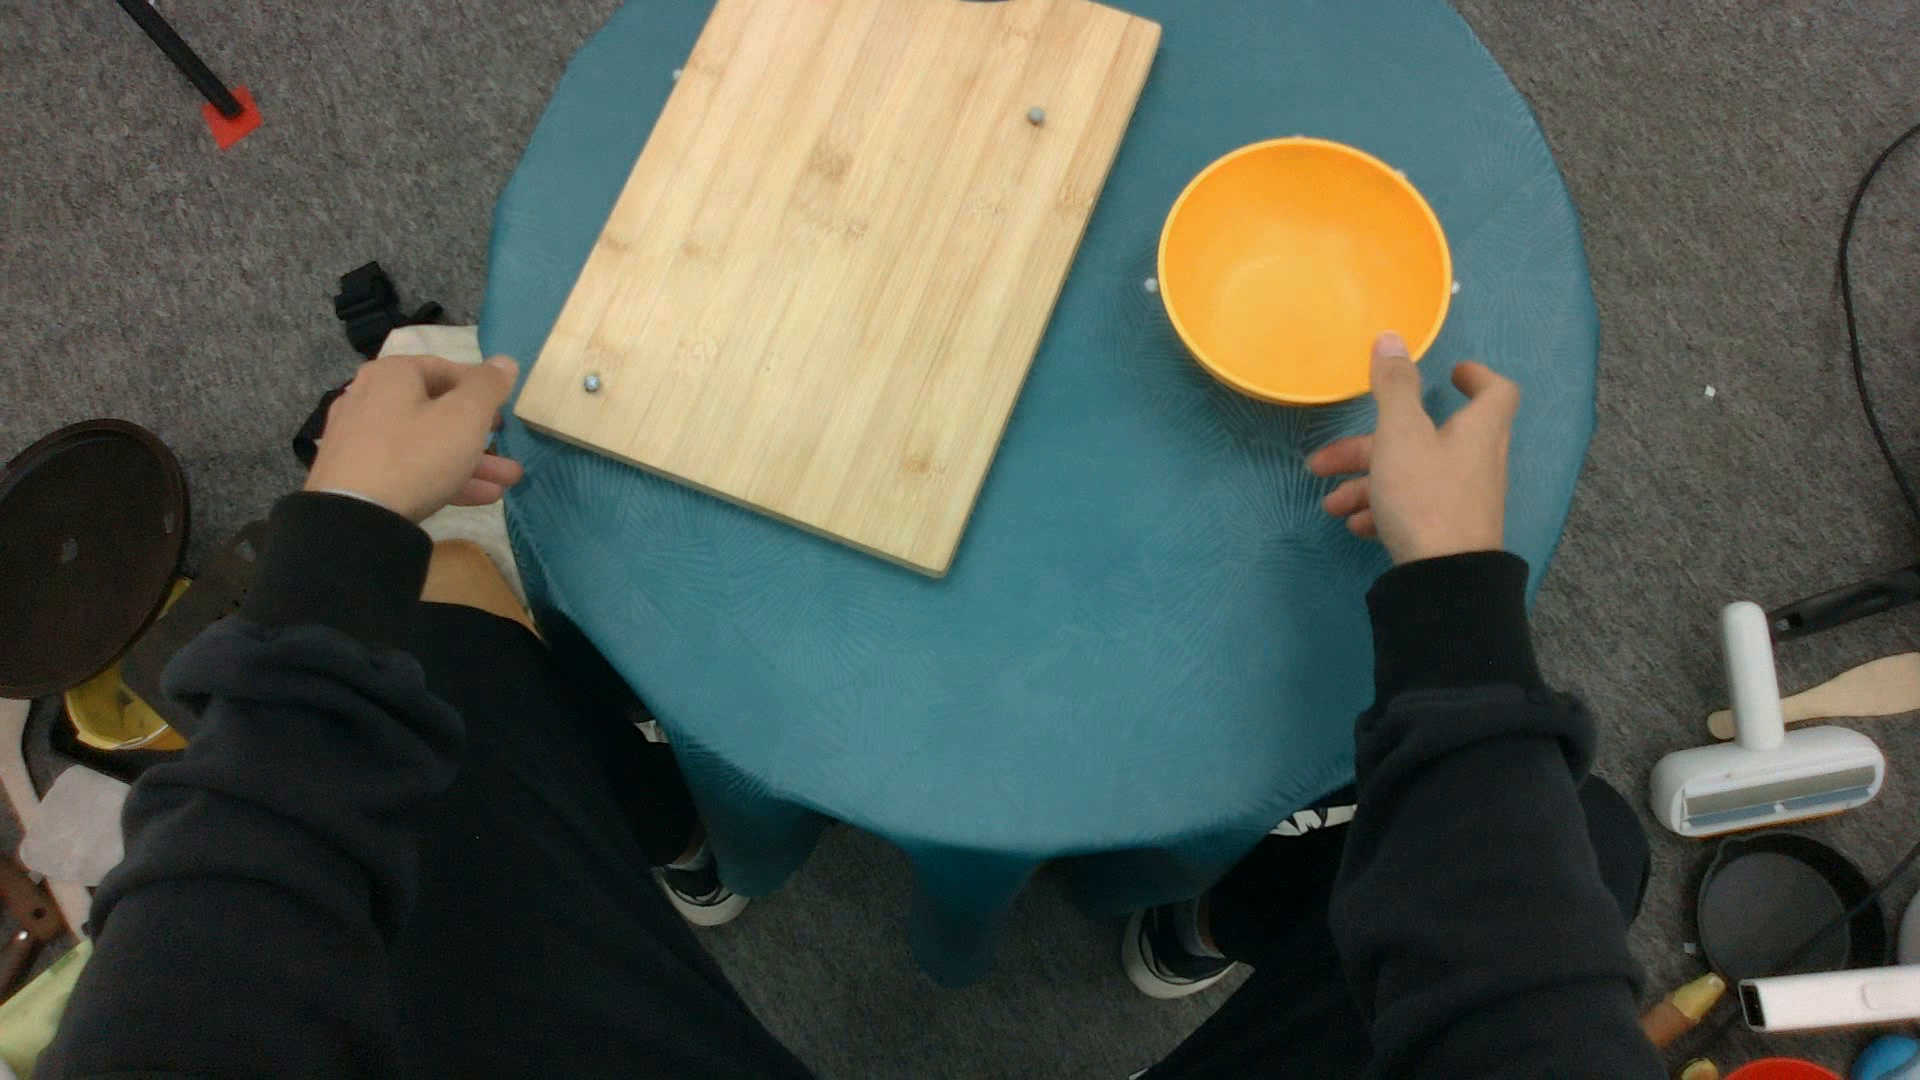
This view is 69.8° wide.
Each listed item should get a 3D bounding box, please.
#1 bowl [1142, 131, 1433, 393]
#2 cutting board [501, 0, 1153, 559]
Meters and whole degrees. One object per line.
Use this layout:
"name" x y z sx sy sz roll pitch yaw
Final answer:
"bowl" 0.165 -0.135 0.719 0.145 0.060 0.145 -1 74 3
"cutting board" -0.065 -0.185 0.752 0.250 0.023 0.349 19 75 5
